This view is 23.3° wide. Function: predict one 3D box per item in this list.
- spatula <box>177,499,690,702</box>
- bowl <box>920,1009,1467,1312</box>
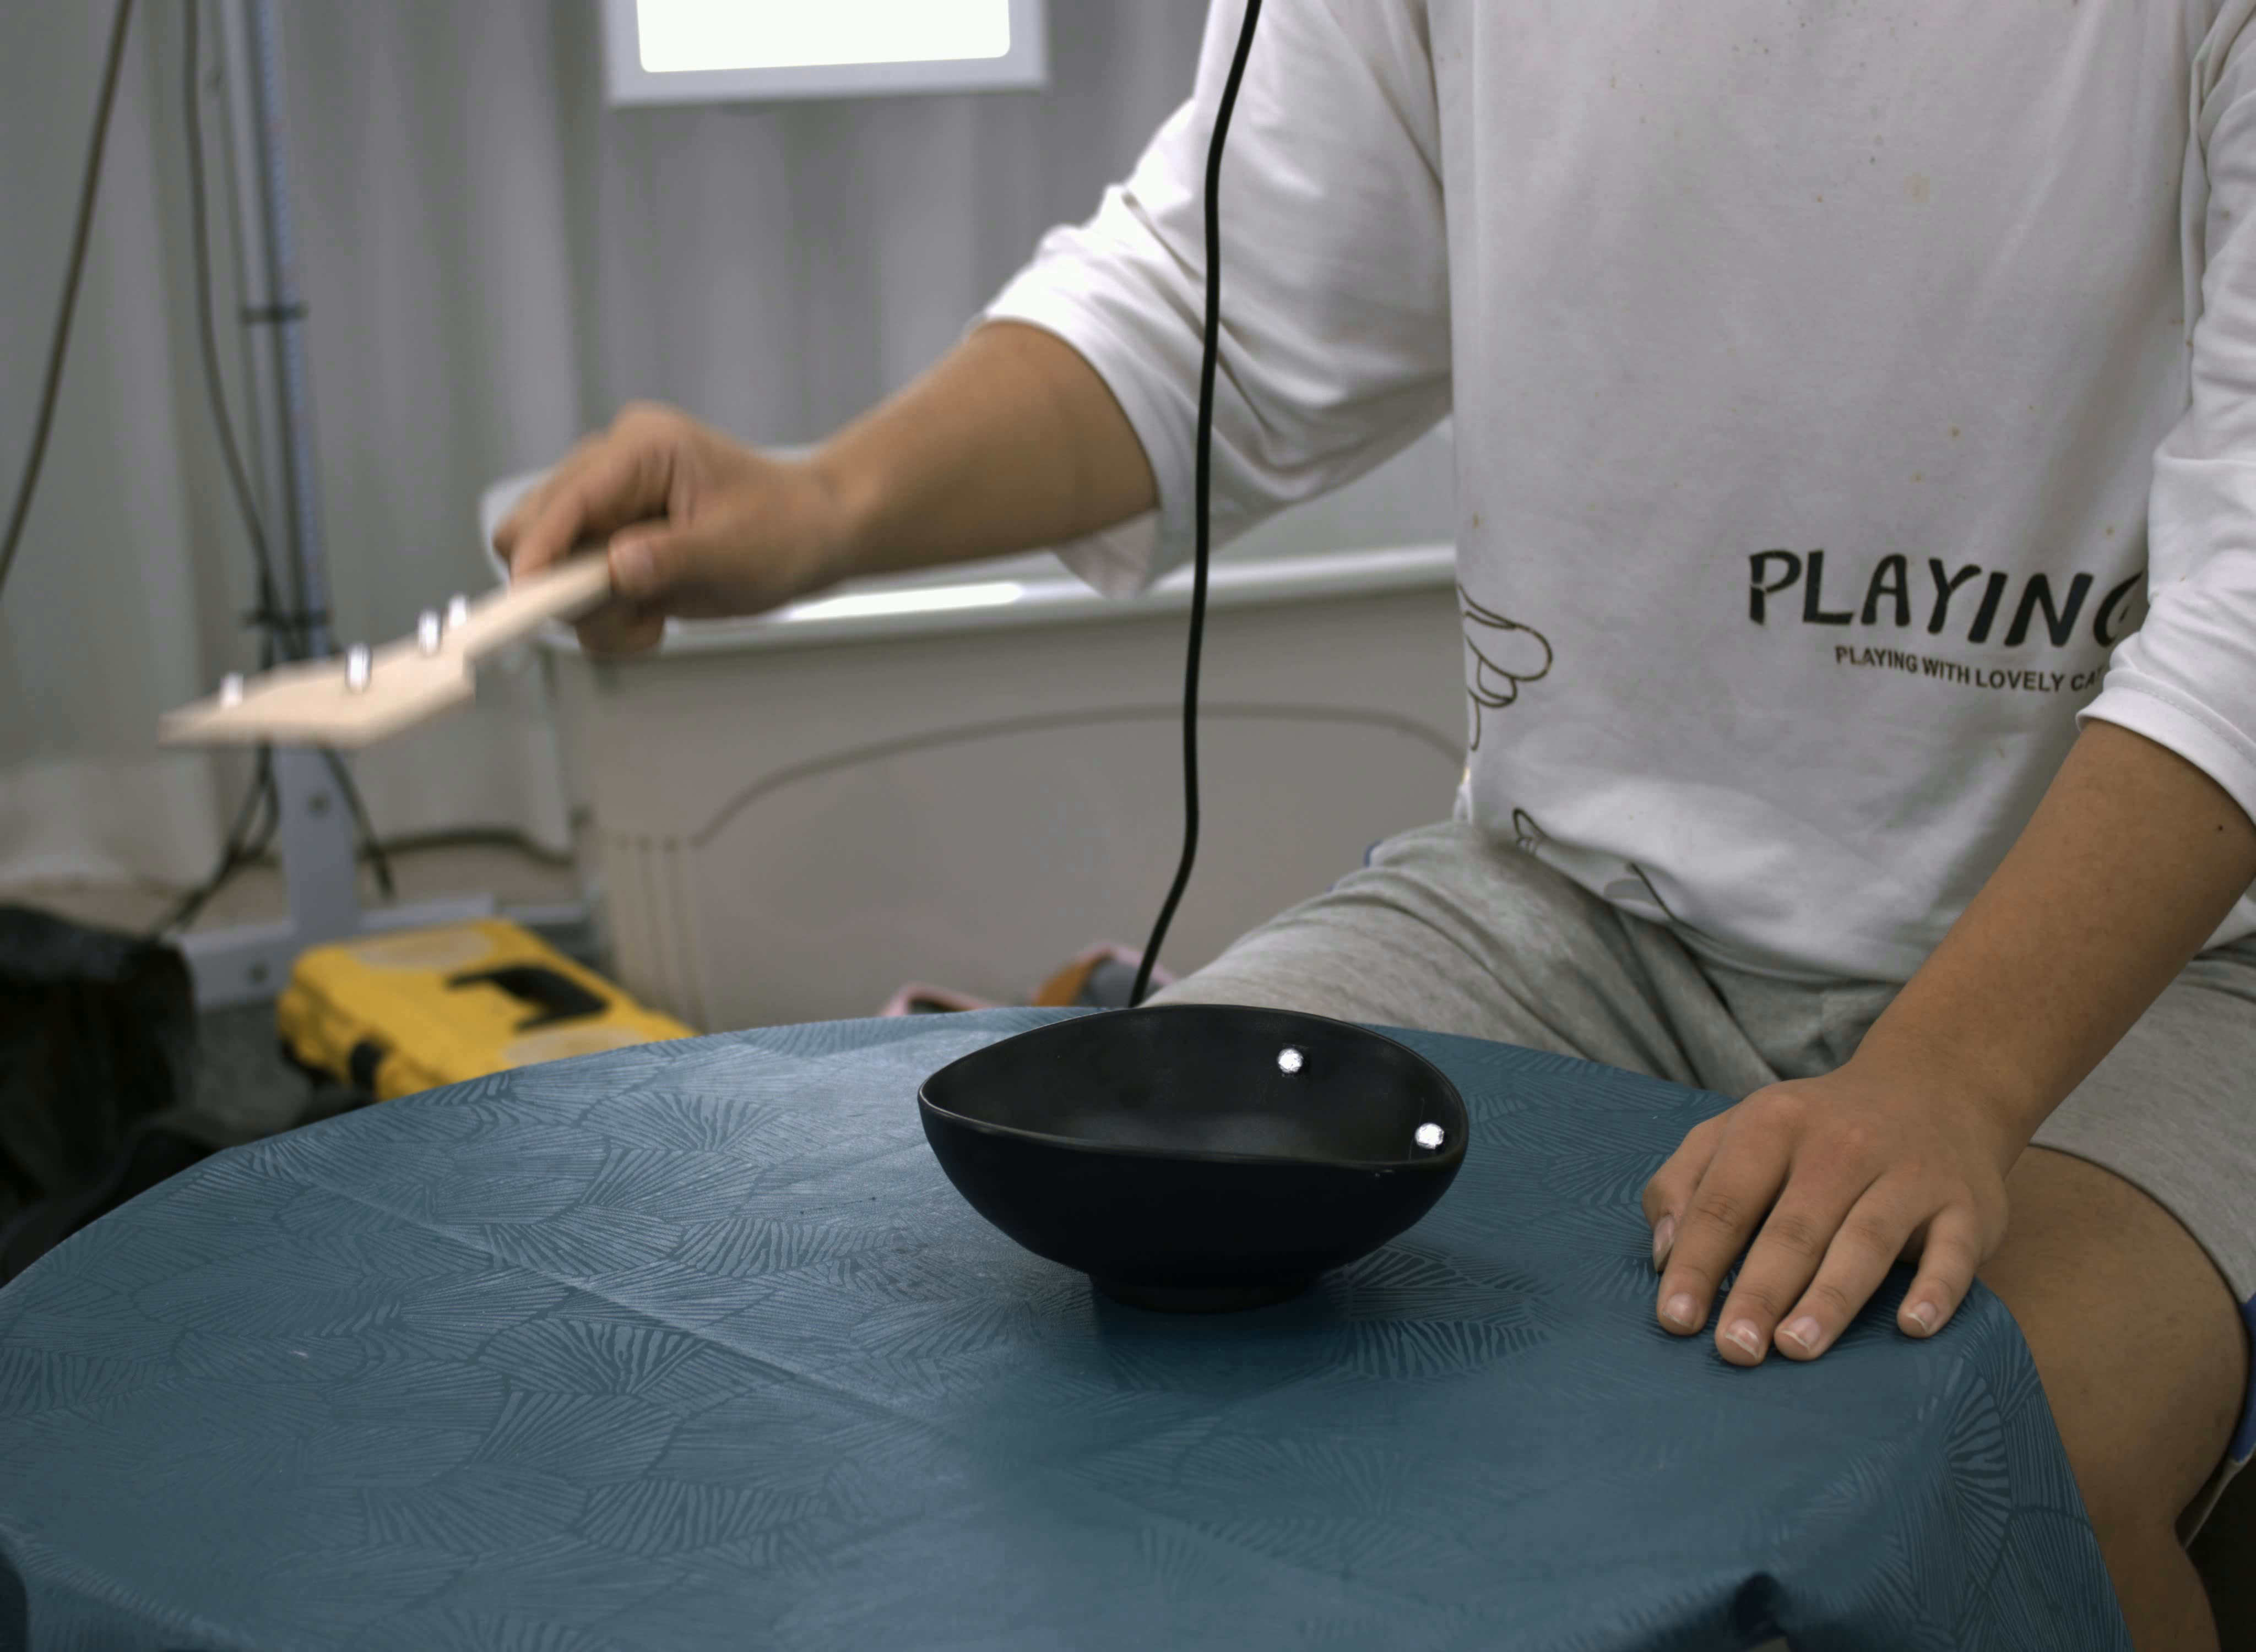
[{"bbox_3d":[-0.205,-0.072,1.735,0.072,0.010,0.294,0,14,18],"label":"spatula"},{"bbox_3d":[0.020,0.104,1.632,0.170,0.066,0.137,5,16,21],"label":"bowl"}]
